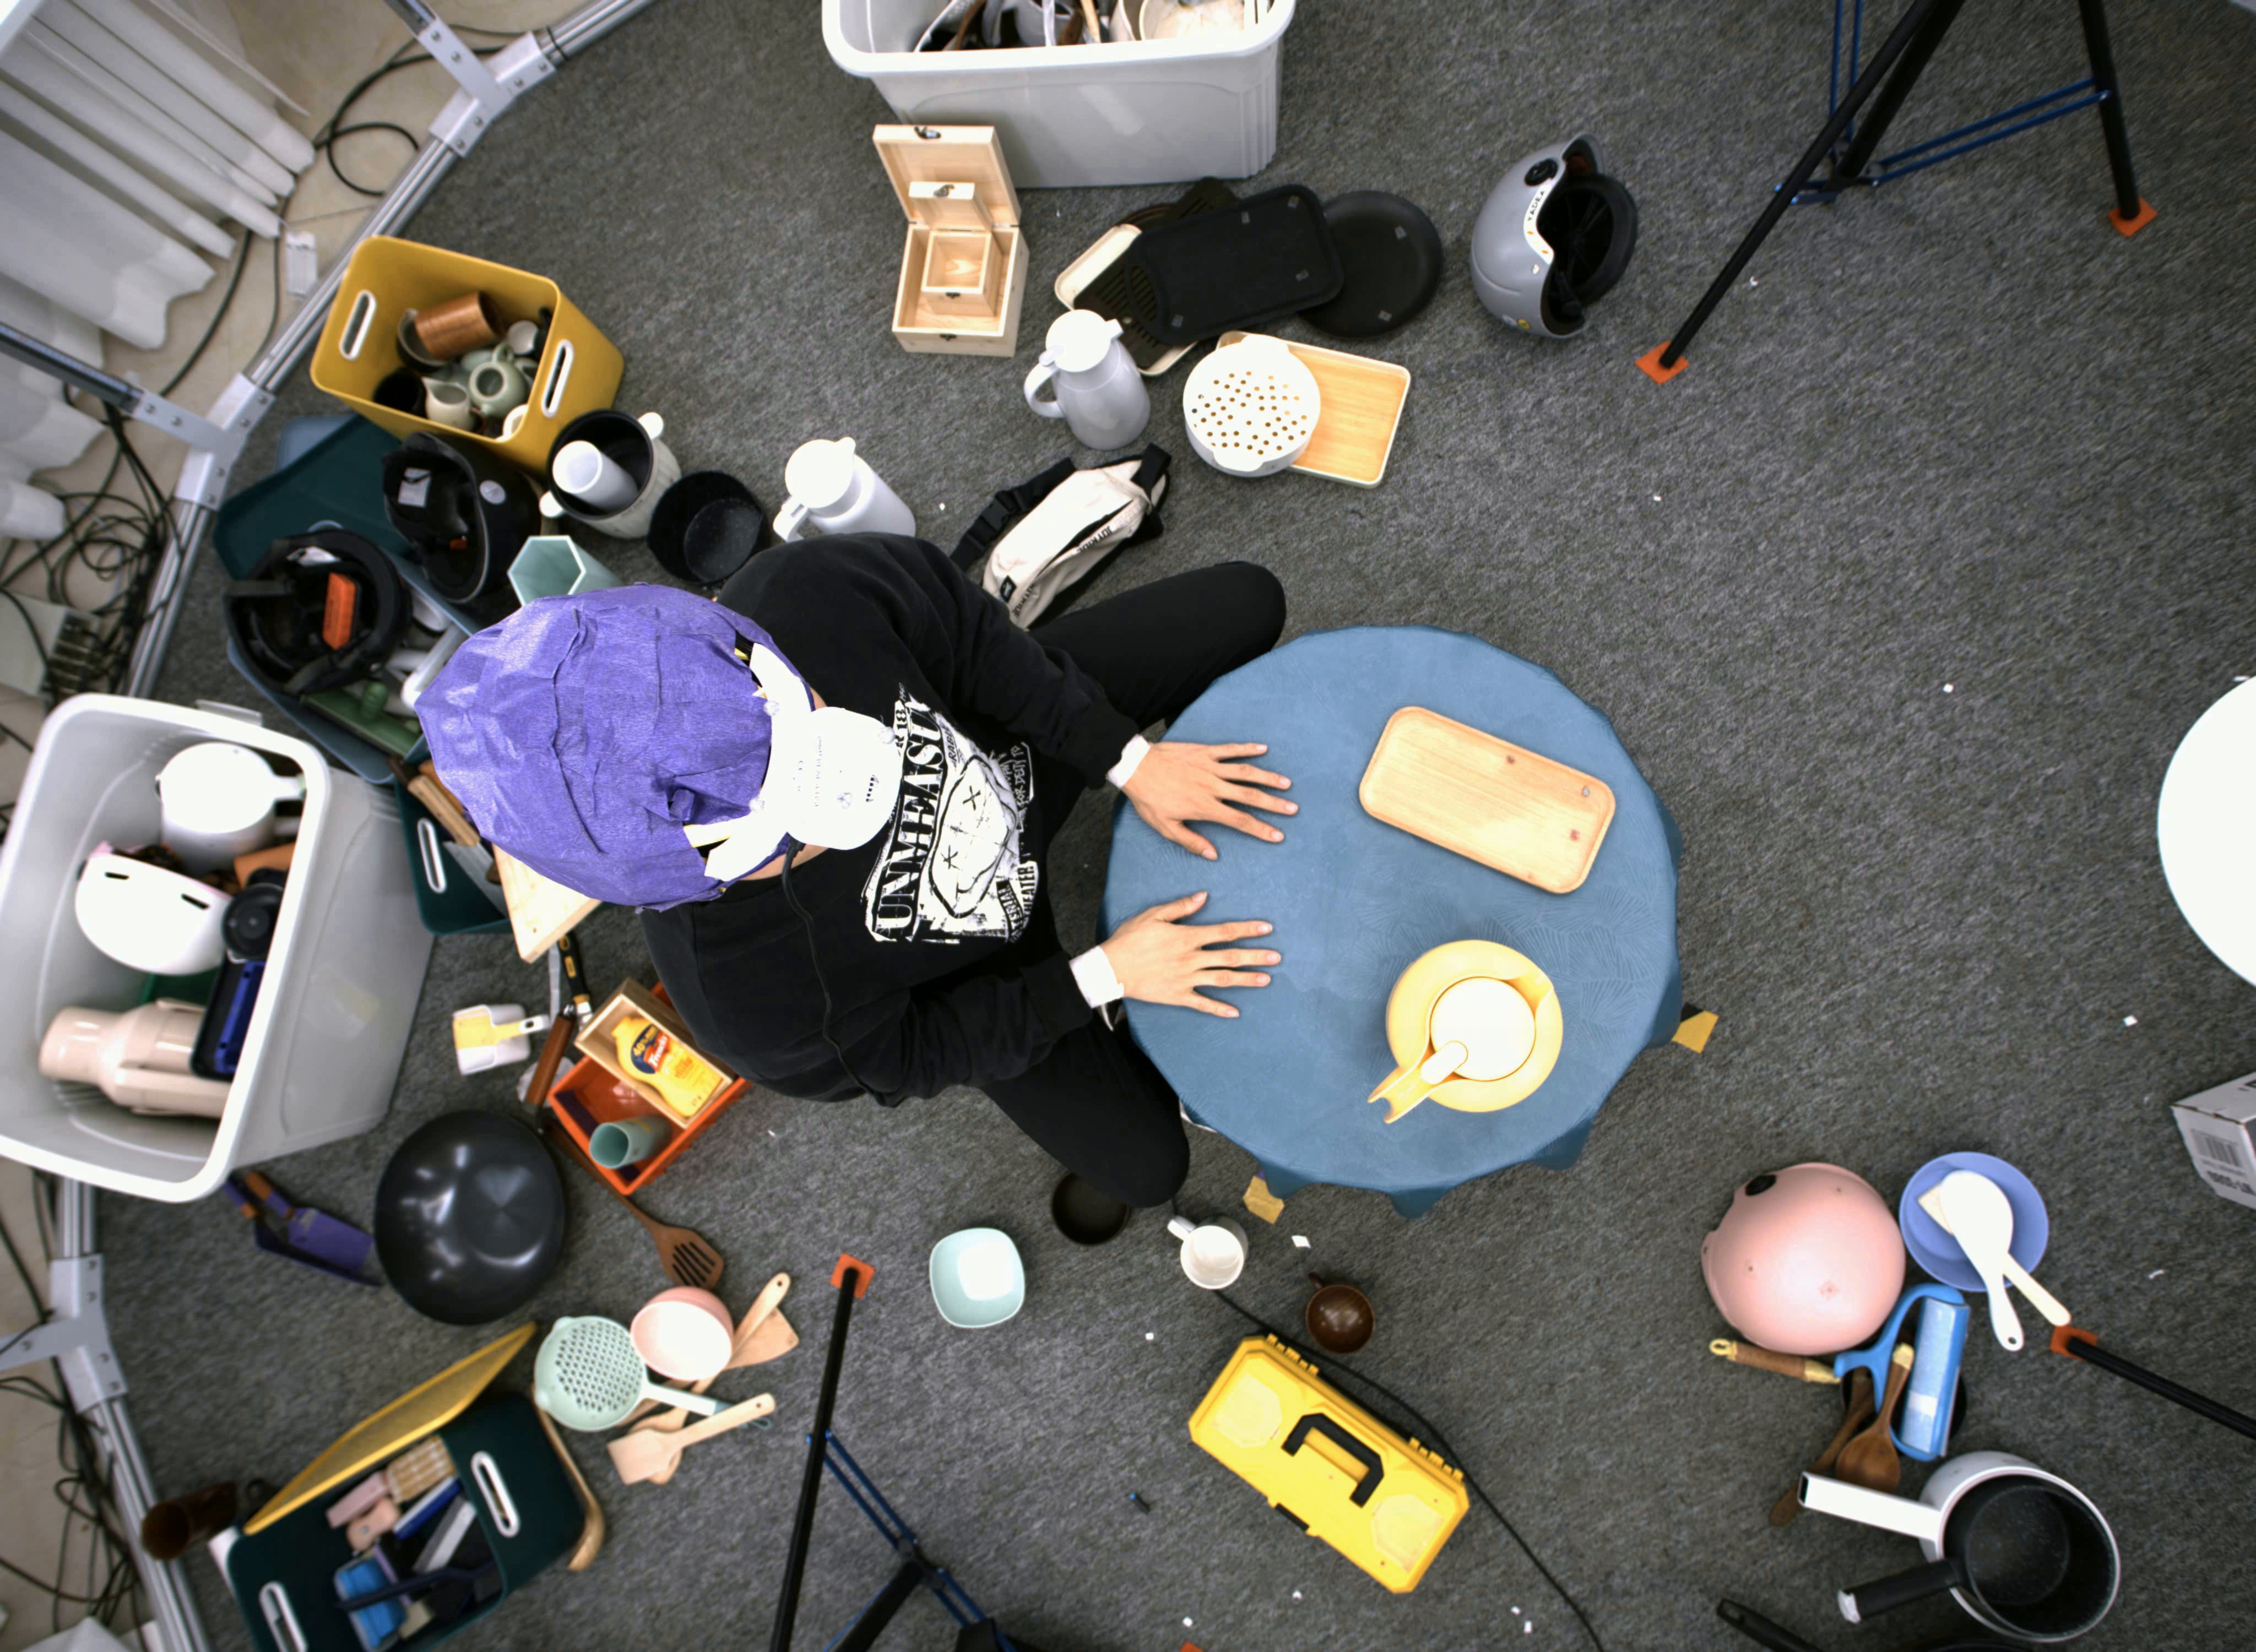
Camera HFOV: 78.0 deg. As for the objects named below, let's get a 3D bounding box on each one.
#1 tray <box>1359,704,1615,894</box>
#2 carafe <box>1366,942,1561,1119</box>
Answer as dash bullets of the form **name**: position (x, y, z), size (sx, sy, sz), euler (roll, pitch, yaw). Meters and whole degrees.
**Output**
- **tray**: position (0.373, -0.031, 1.437), size (0.250, 0.023, 0.130), euler (25, 90, 12)
- **carafe**: position (0.311, 0.200, 1.313), size (0.203, 0.261, 0.162), euler (-38, 77, 3)
